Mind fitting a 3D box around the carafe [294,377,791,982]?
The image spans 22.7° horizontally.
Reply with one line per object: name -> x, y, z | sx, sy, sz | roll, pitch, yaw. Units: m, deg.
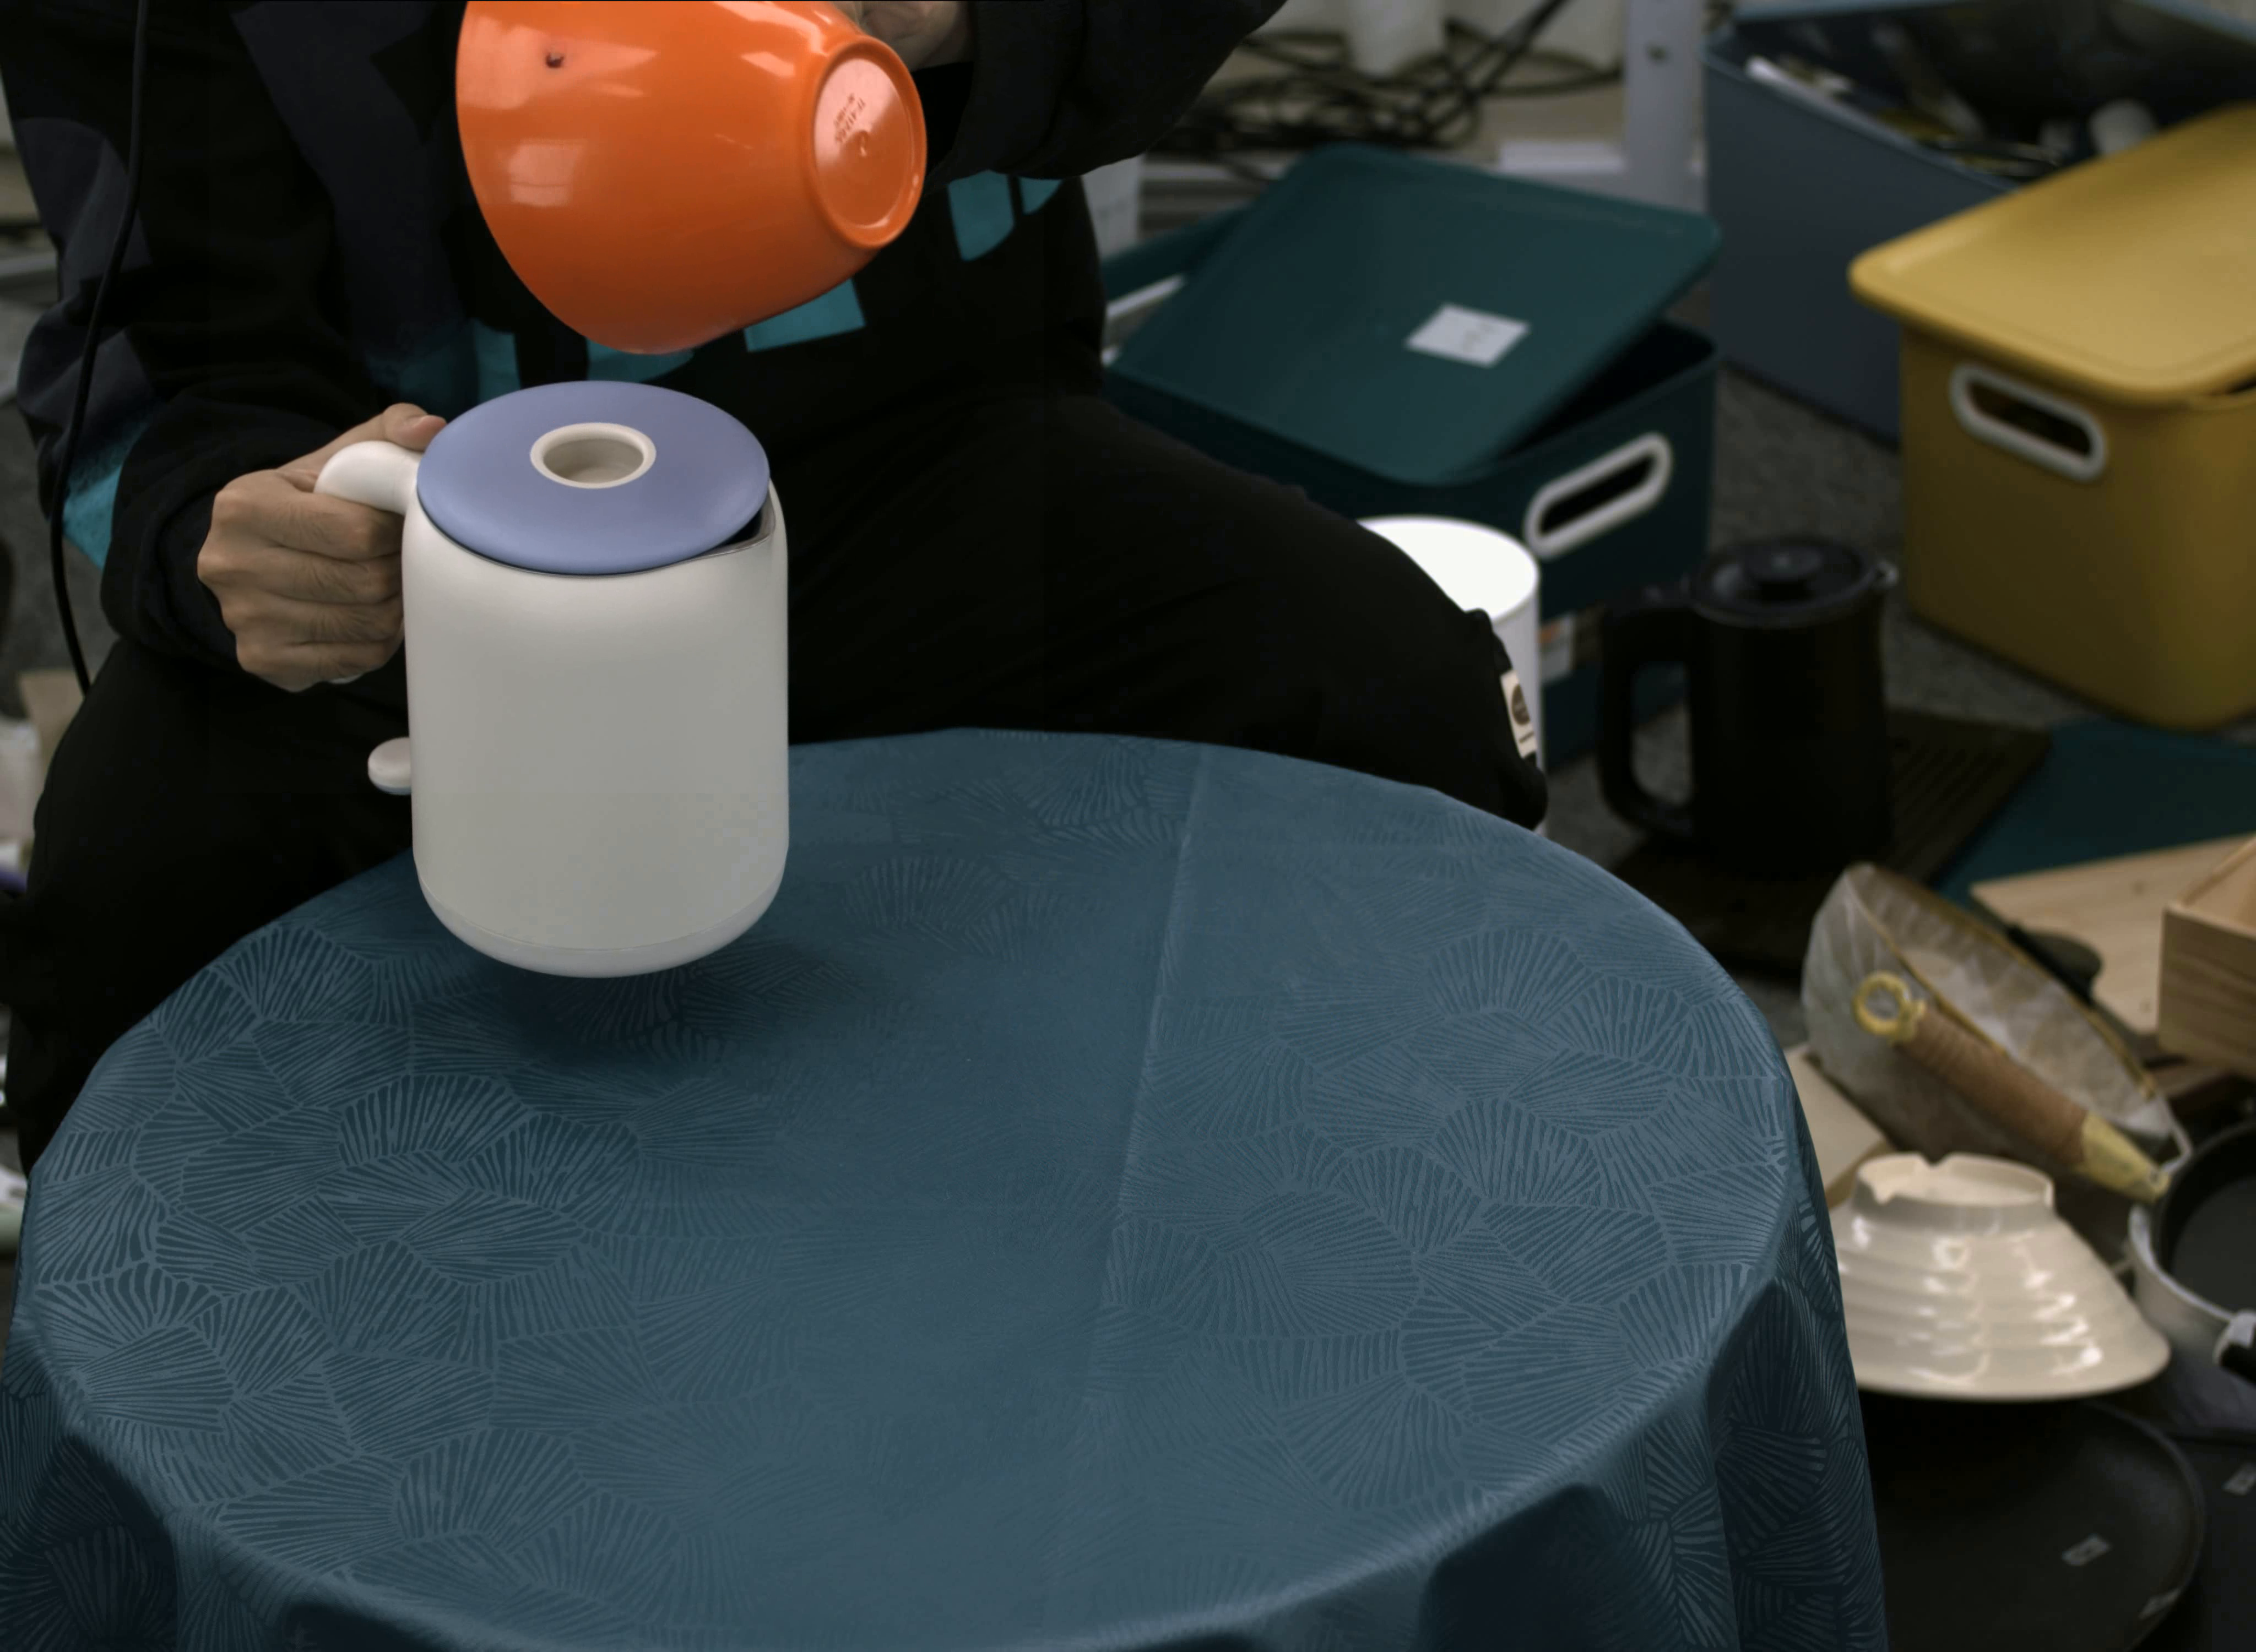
carafe -> -0.203, -0.056, 1.935 | 0.190, 0.180, 0.134 | 14, 34, 21

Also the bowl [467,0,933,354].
bowl -> -0.127, -0.224, 1.800 | 0.103, 0.147, 0.150 | 2, 25, 31
